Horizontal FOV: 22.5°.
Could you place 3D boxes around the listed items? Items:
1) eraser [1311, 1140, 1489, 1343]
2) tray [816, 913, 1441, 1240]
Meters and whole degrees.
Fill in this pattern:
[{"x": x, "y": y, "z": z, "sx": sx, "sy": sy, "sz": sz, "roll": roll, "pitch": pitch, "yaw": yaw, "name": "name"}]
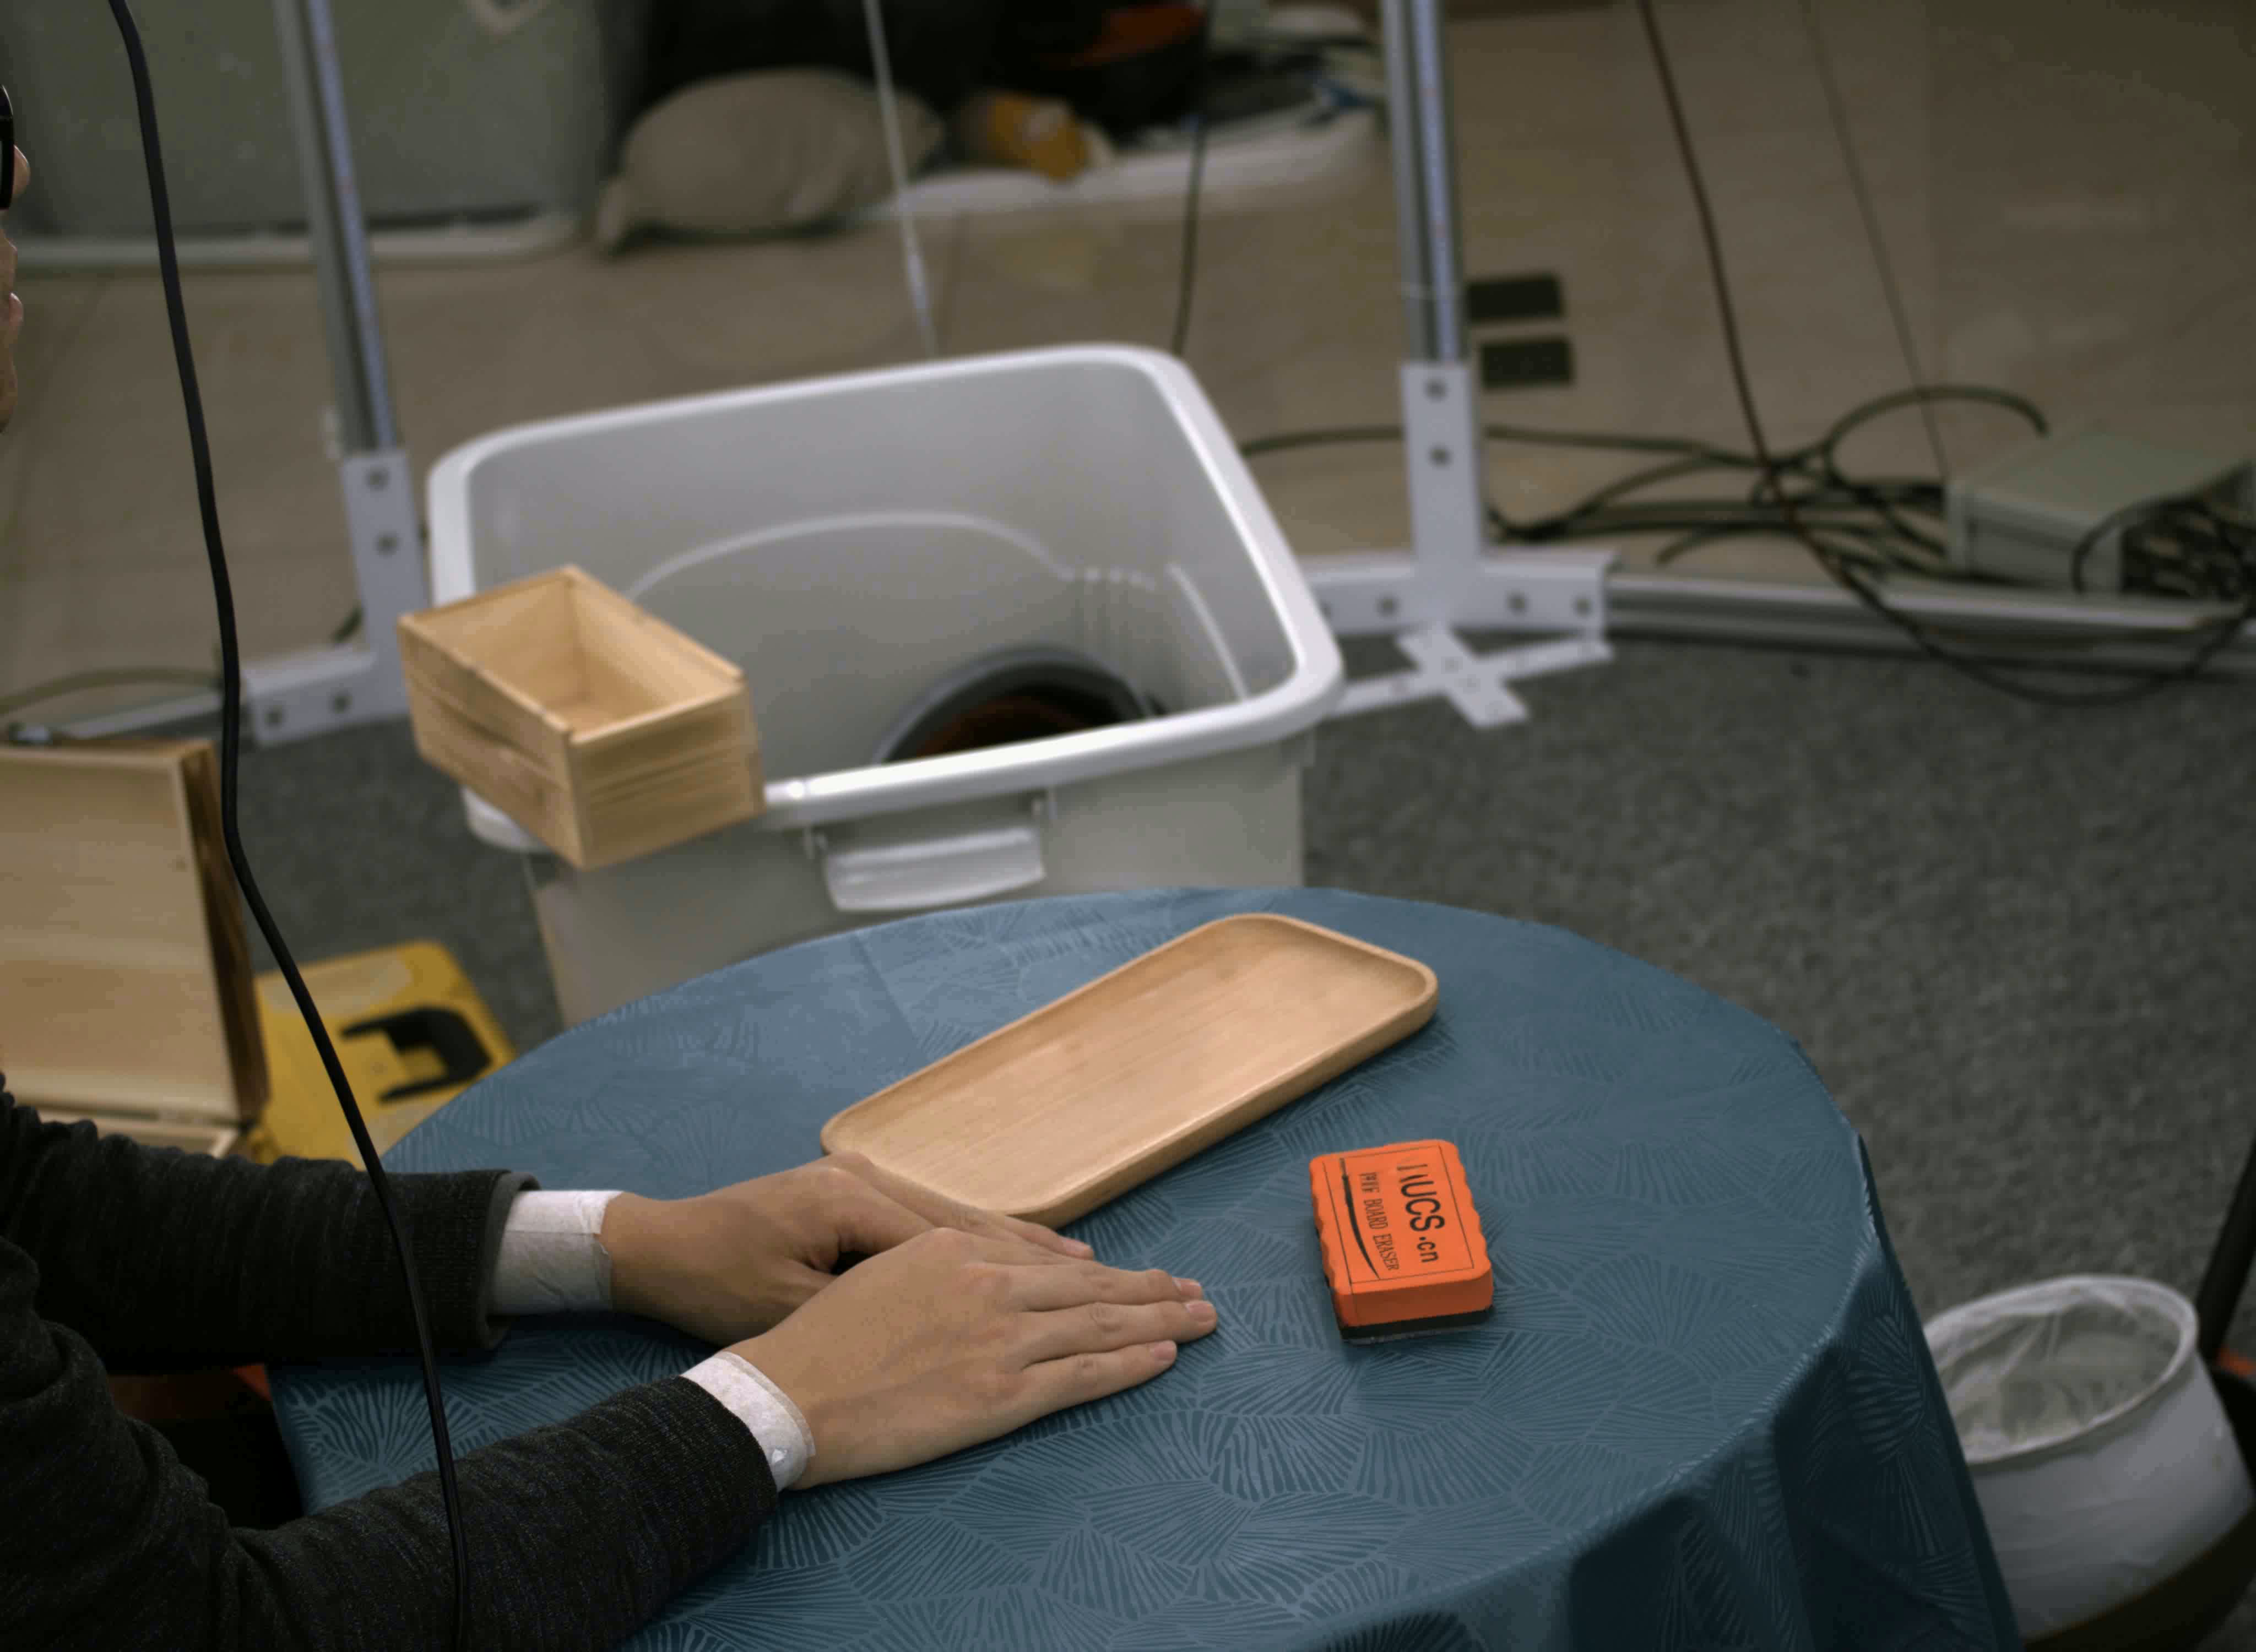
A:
[{"x": 0.098, "y": 0.151, "z": 2.069, "sx": 0.059, "sy": 0.023, "sz": 0.106, "roll": -7, "pitch": 25, "yaw": 0, "name": "eraser"}, {"x": 0.002, "y": 0.096, "z": 2.219, "sx": 0.248, "sy": 0.023, "sz": 0.129, "roll": -26, "pitch": 29, "yaw": -35, "name": "tray"}]
